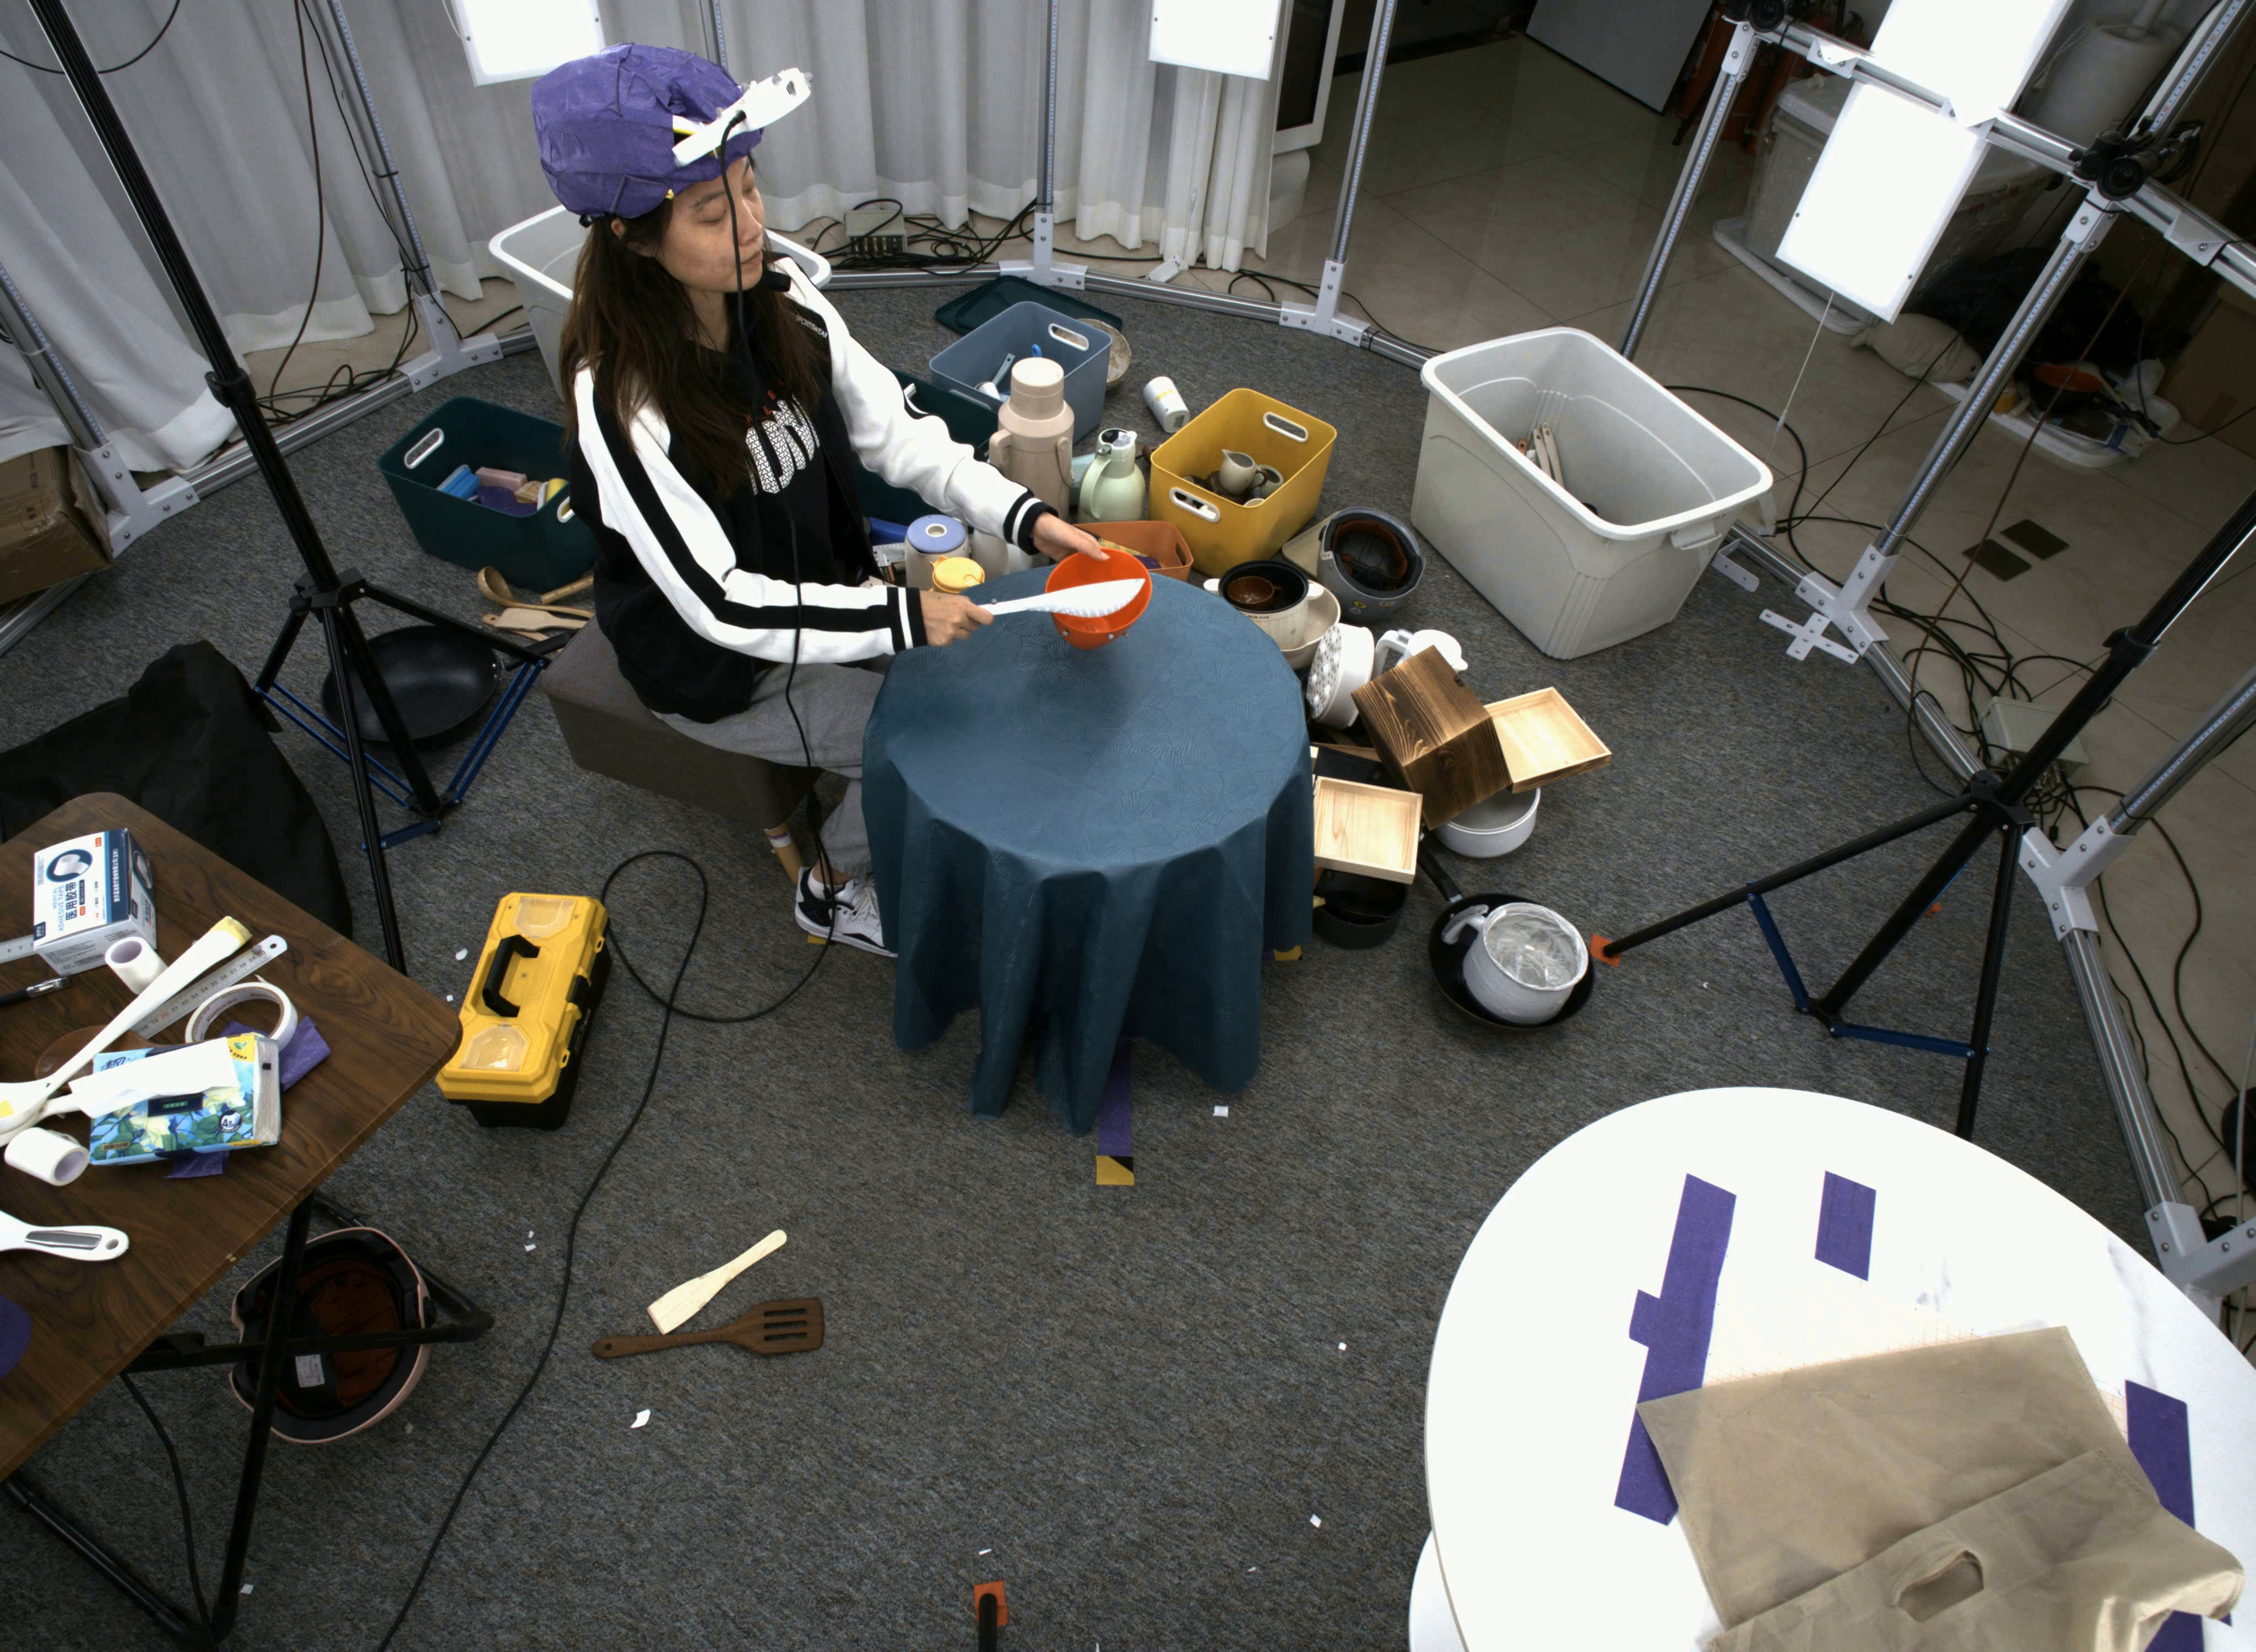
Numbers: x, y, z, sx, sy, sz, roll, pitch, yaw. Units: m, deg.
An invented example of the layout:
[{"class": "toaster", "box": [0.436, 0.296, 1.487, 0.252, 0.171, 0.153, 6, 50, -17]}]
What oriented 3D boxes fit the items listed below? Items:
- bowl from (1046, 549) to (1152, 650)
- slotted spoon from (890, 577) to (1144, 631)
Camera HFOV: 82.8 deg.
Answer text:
[{"class": "bowl", "box": [-0.044, -0.309, 1.832, 0.148, 0.102, 0.151, 2, 60, -4]}, {"class": "slotted spoon", "box": [-0.151, -0.301, 1.750, 0.350, 0.045, 0.137, -4, 10, 5]}]
